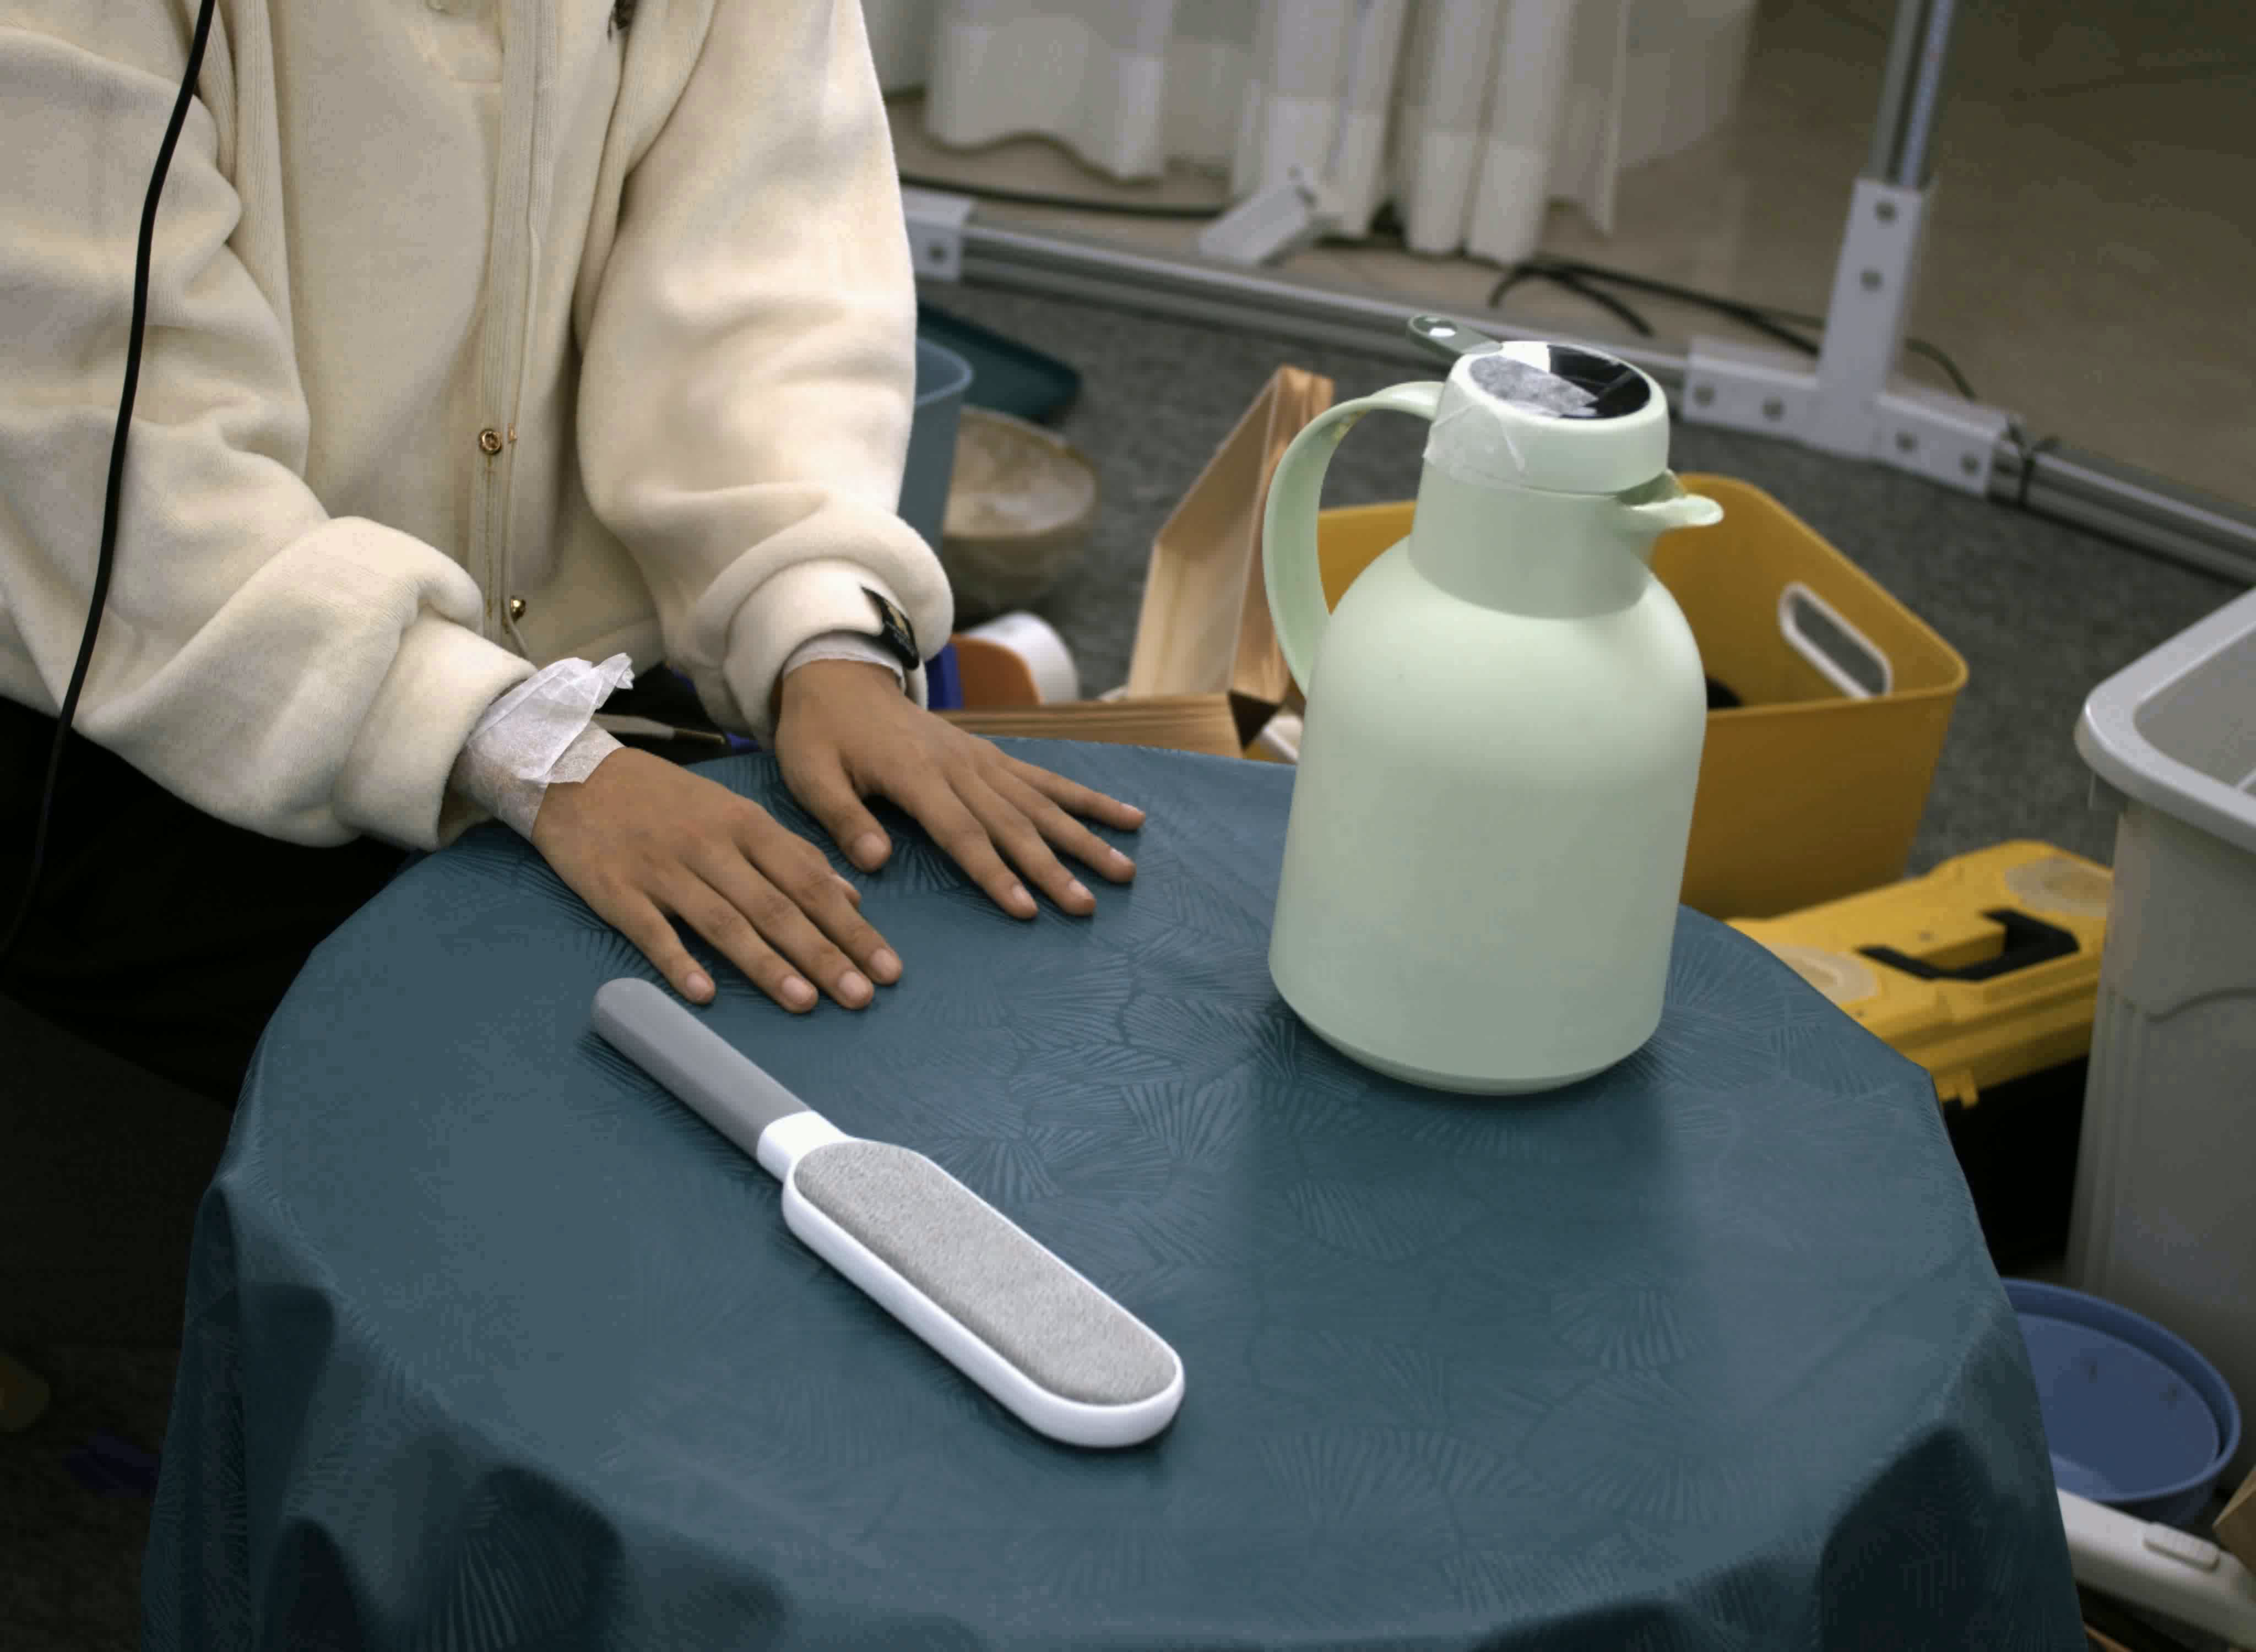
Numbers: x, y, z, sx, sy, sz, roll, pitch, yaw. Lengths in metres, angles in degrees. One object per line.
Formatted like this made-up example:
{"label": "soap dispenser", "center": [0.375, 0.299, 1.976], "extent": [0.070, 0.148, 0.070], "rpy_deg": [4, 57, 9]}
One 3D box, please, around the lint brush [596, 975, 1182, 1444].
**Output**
{"label": "lint brush", "center": [-0.086, 0.122, 1.760], "extent": [0.060, 0.021, 0.311], "rpy_deg": [-17, 34, -34]}

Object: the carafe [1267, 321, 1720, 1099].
{"label": "carafe", "center": [0.125, -0.047, 1.891], "extent": [0.188, 0.256, 0.143], "rpy_deg": [24, 32, 38]}
